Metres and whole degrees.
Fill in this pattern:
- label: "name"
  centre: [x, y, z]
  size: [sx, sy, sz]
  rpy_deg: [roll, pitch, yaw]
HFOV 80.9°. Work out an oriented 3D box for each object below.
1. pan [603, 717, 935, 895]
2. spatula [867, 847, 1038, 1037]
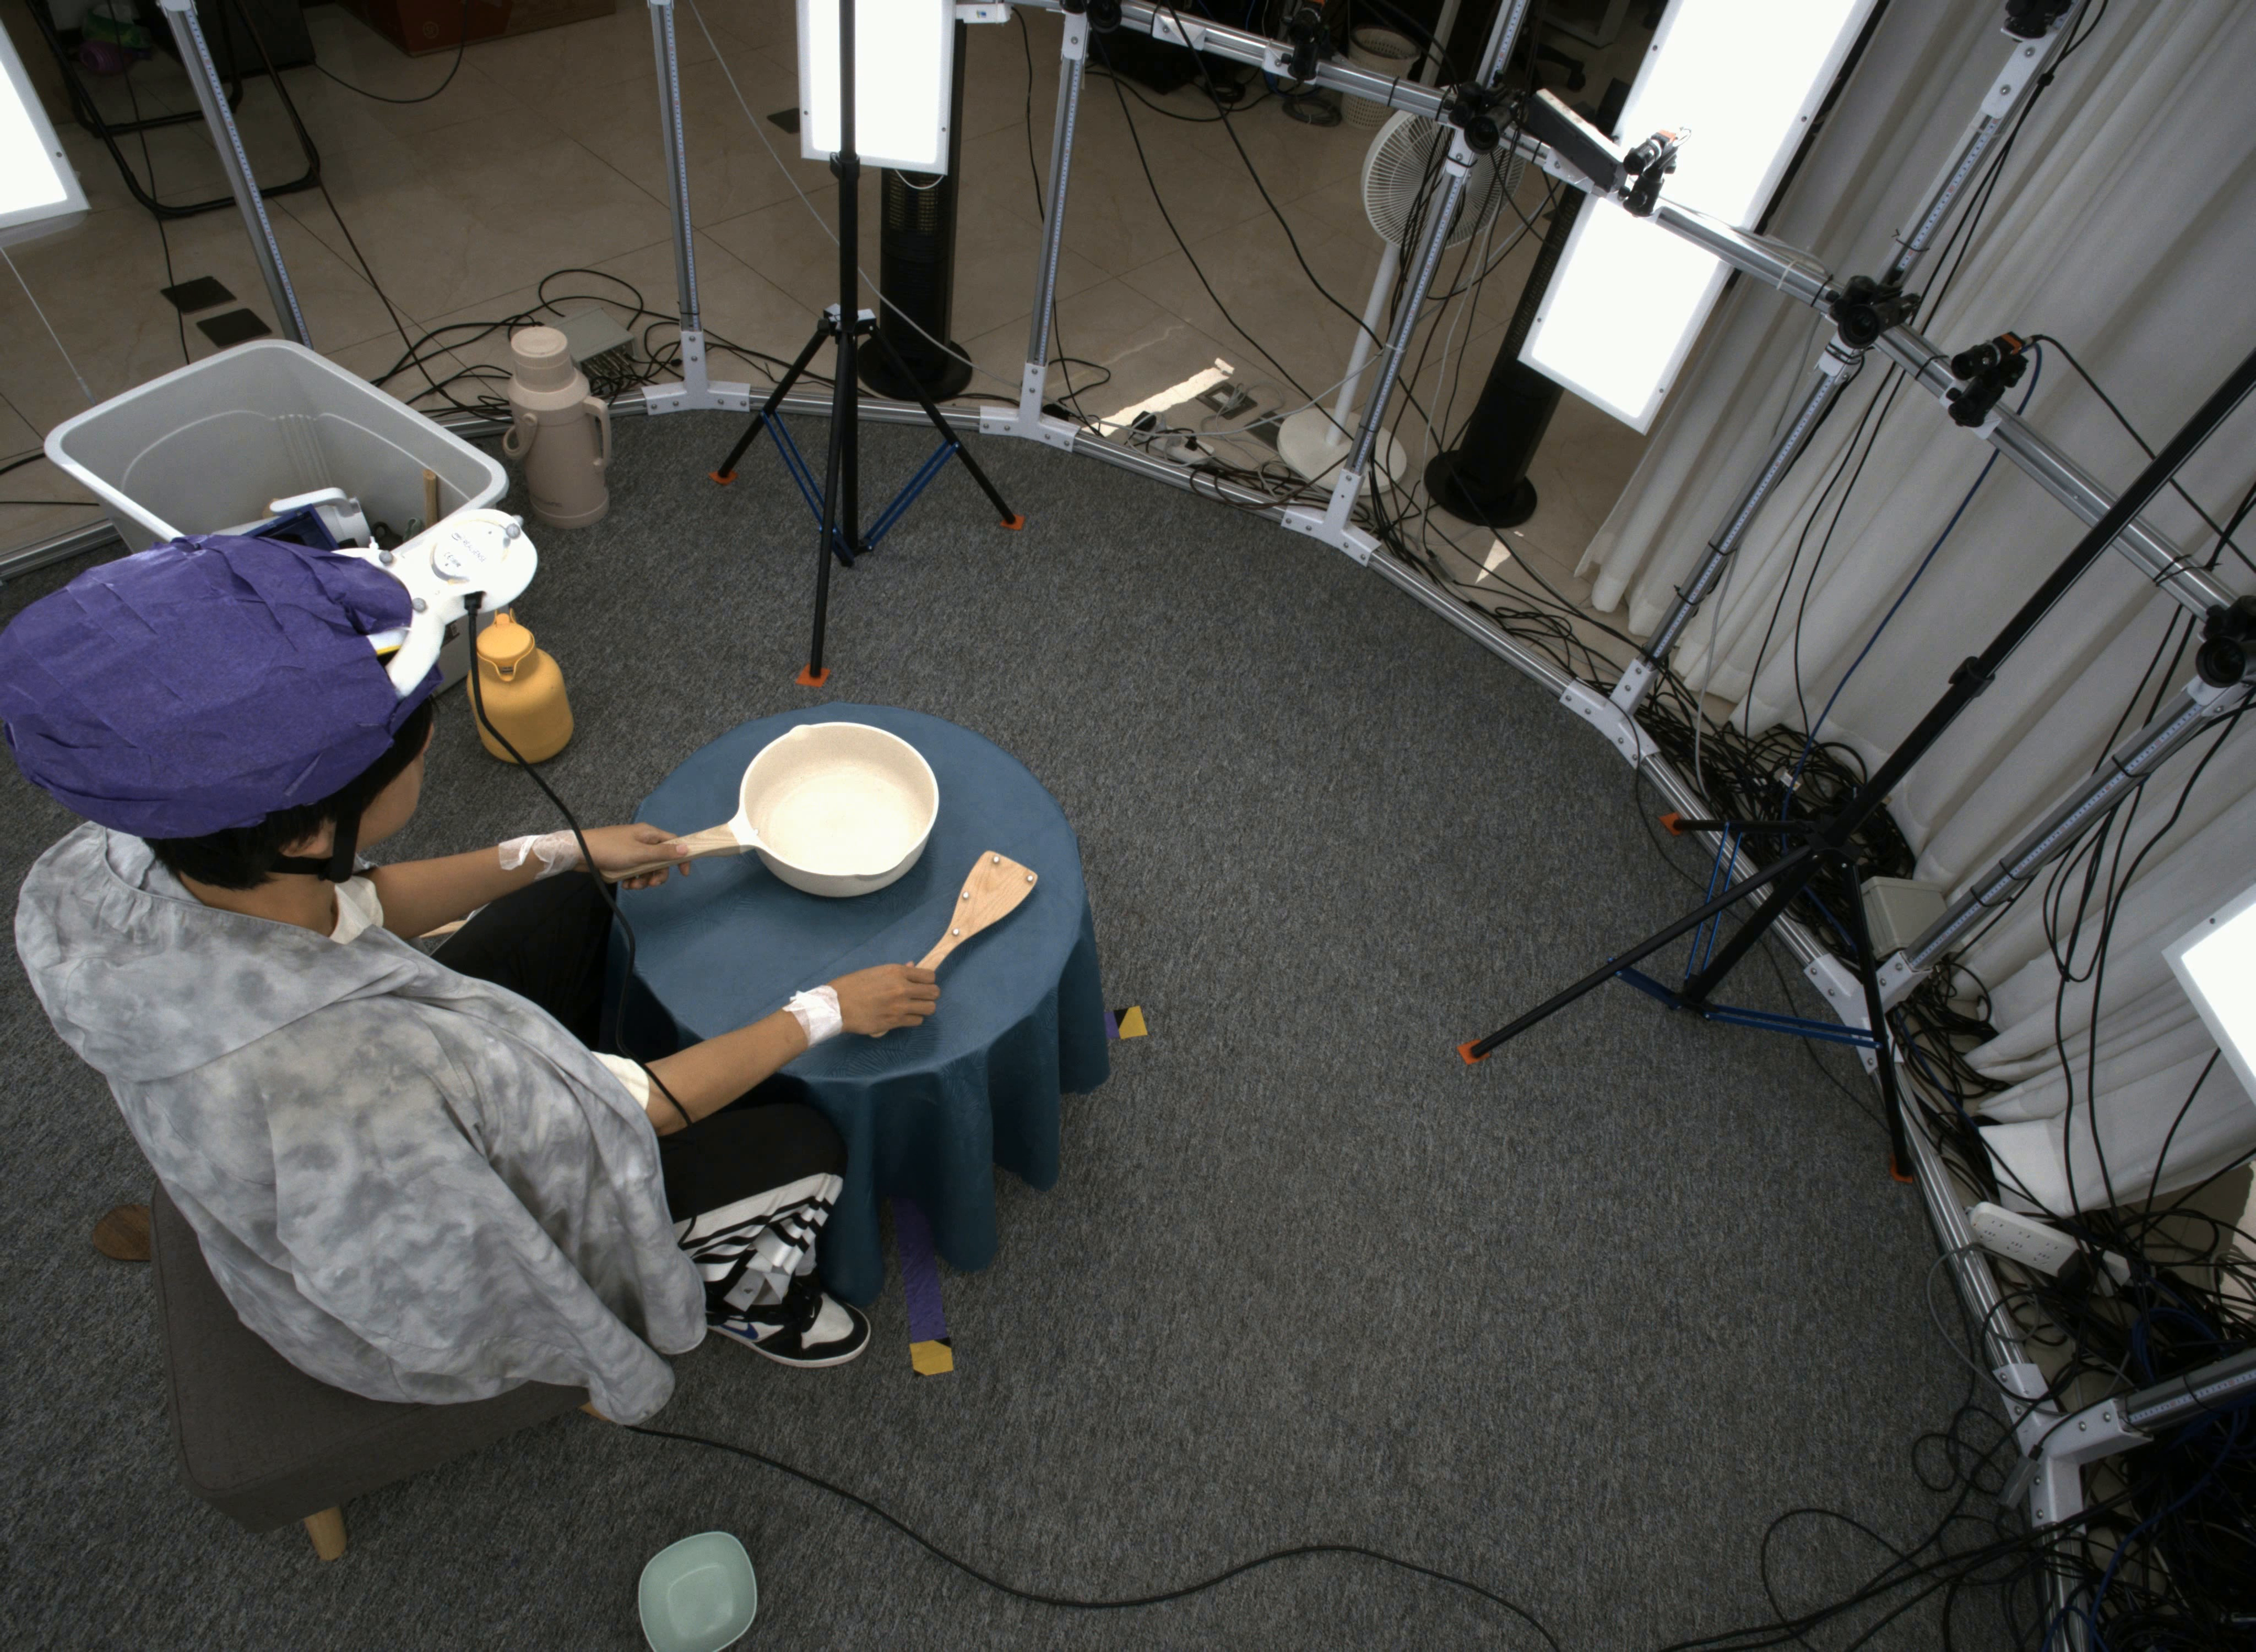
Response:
- label: "pan"
  centre: [-0.453, 0.007, 1.649]
  size: [0.437, 0.104, 0.257]
  rpy_deg: [-23, 63, -28]
- label: "spatula"
  centre: [-0.224, 0.140, 1.621]
  size: [0.080, 0.016, 0.326]
  rpy_deg: [38, 49, -1]
